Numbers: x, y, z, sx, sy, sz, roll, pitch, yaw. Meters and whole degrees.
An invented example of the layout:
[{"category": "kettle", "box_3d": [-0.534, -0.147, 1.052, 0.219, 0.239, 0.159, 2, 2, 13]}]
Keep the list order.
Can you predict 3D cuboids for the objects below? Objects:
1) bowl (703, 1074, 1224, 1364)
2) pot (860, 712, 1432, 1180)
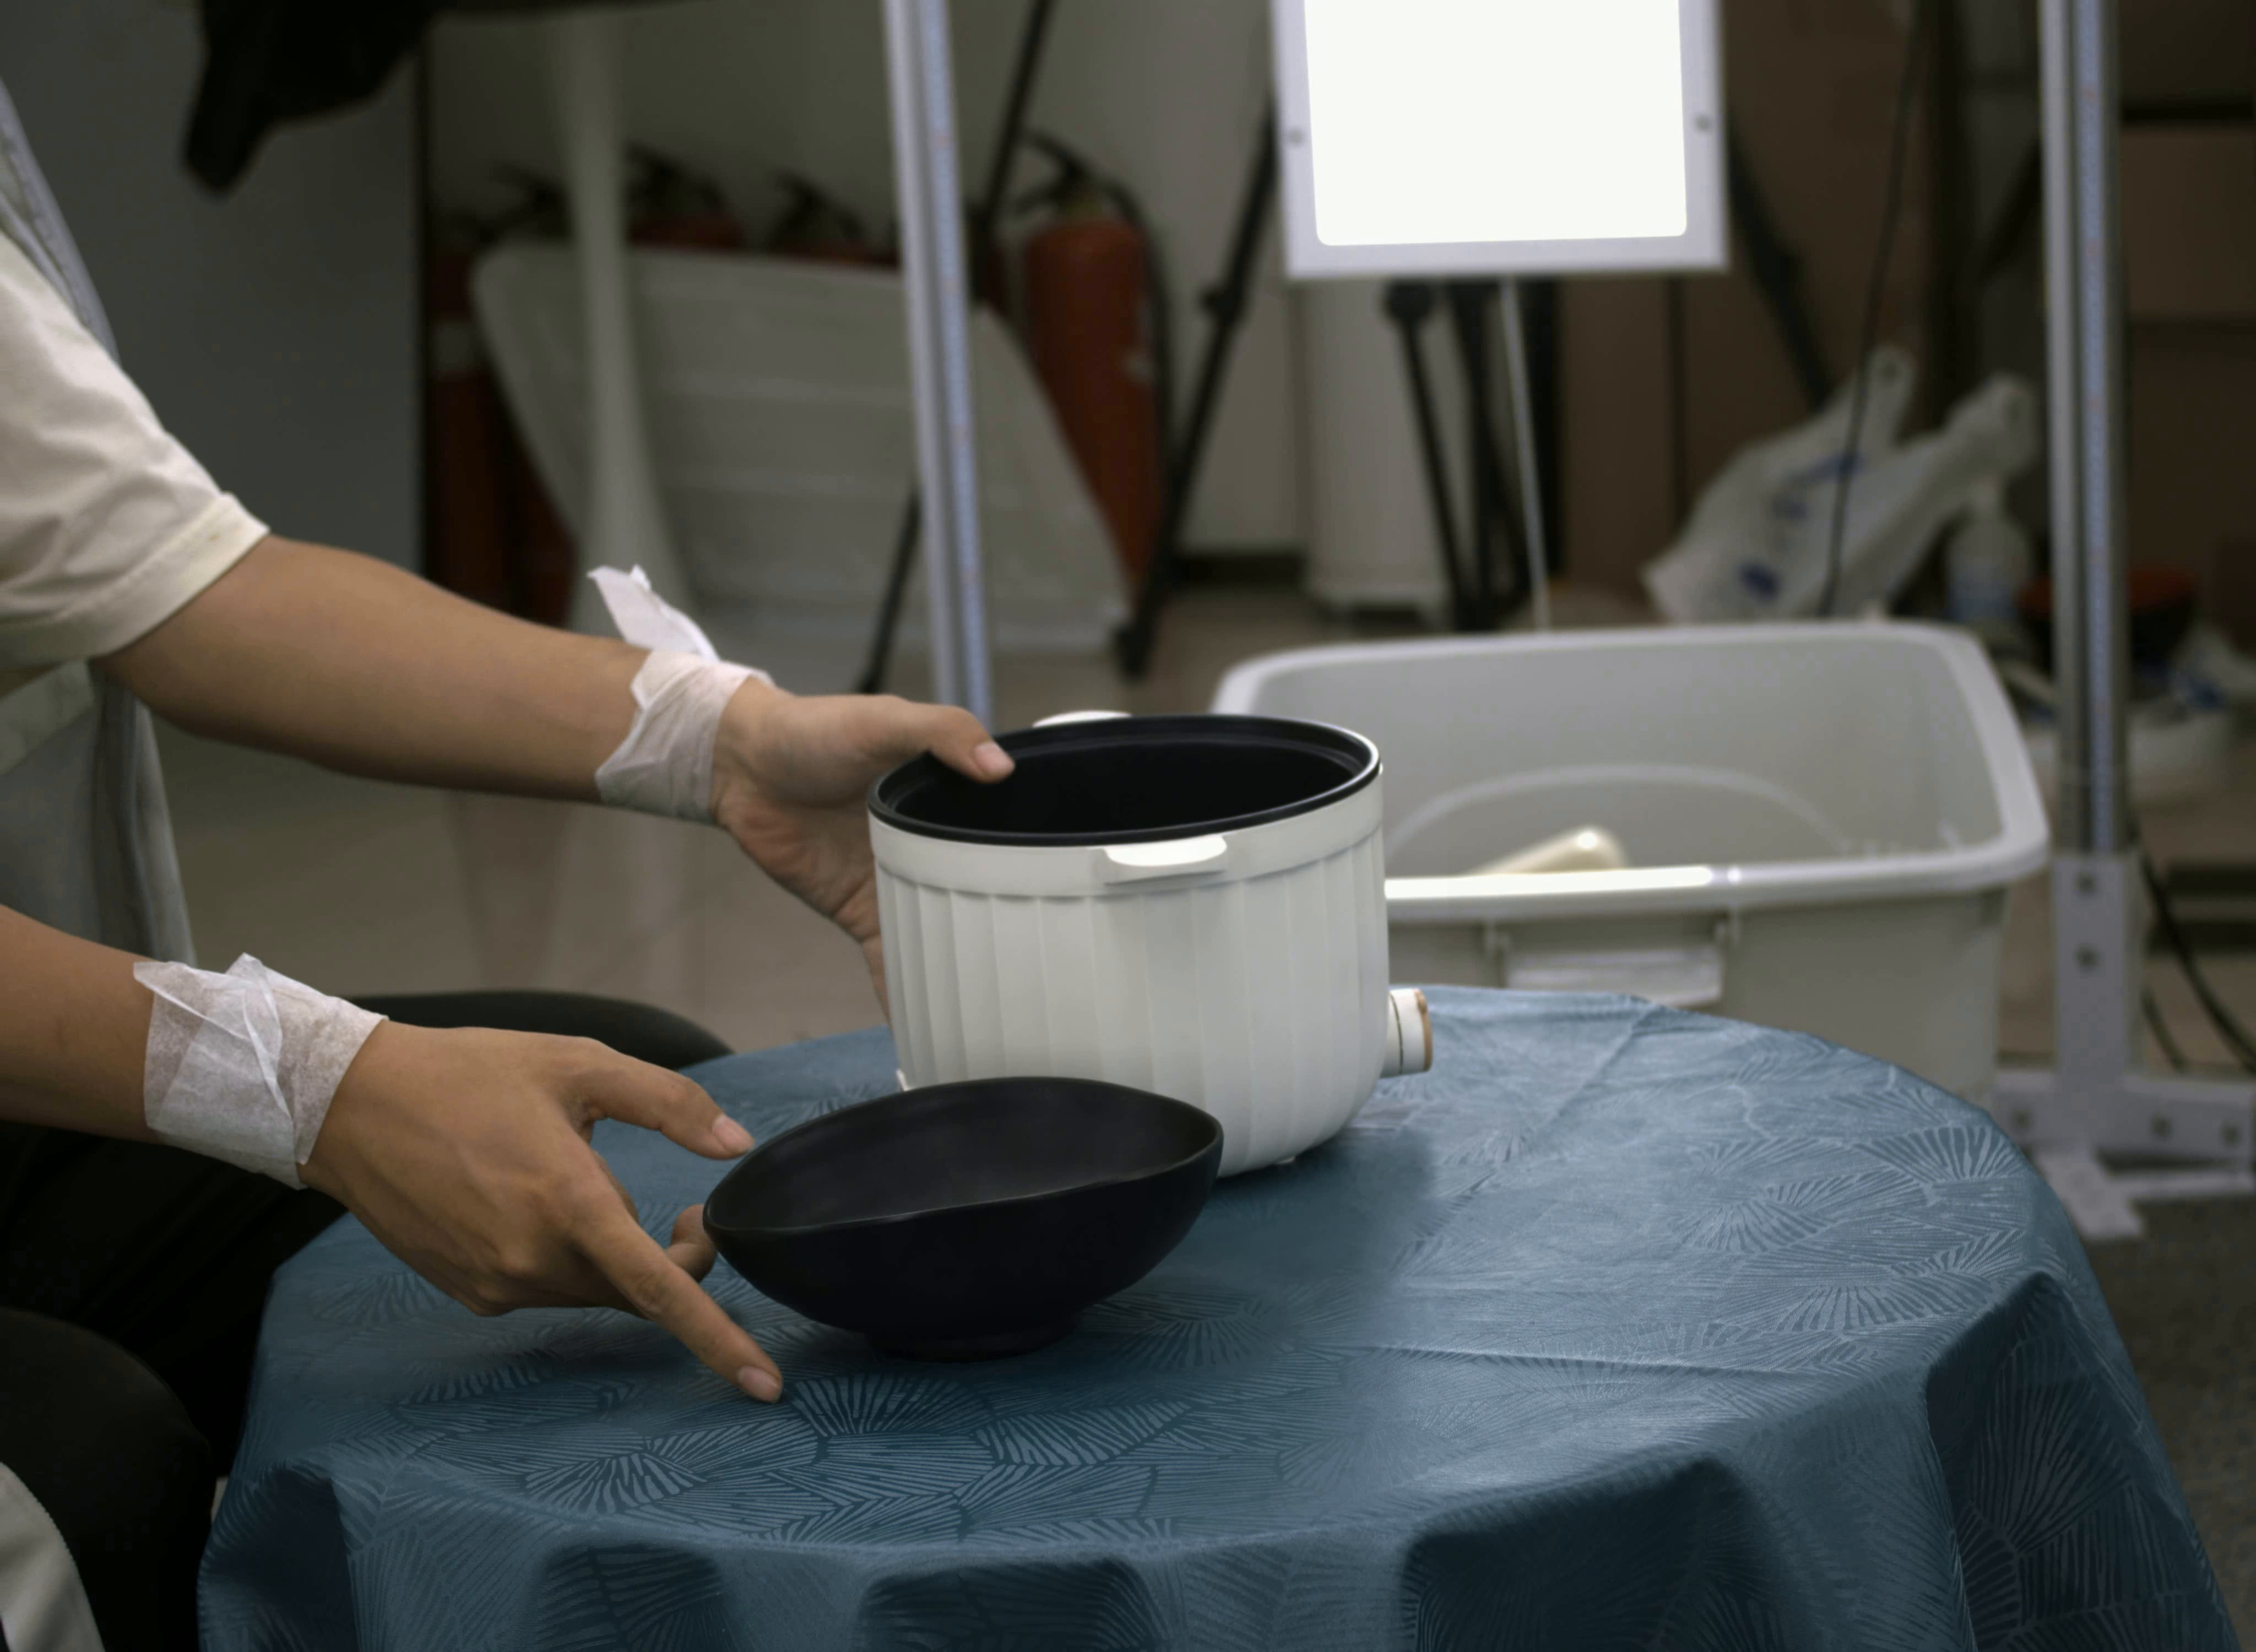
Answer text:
[{"category": "bowl", "box_3d": [-0.050, 0.131, 1.761, 0.168, 0.067, 0.138, -9, 13, -12]}, {"category": "pot", "box_3d": [0.008, 0.044, 1.939, 0.189, 0.143, 0.241, -10, 15, -6]}]
